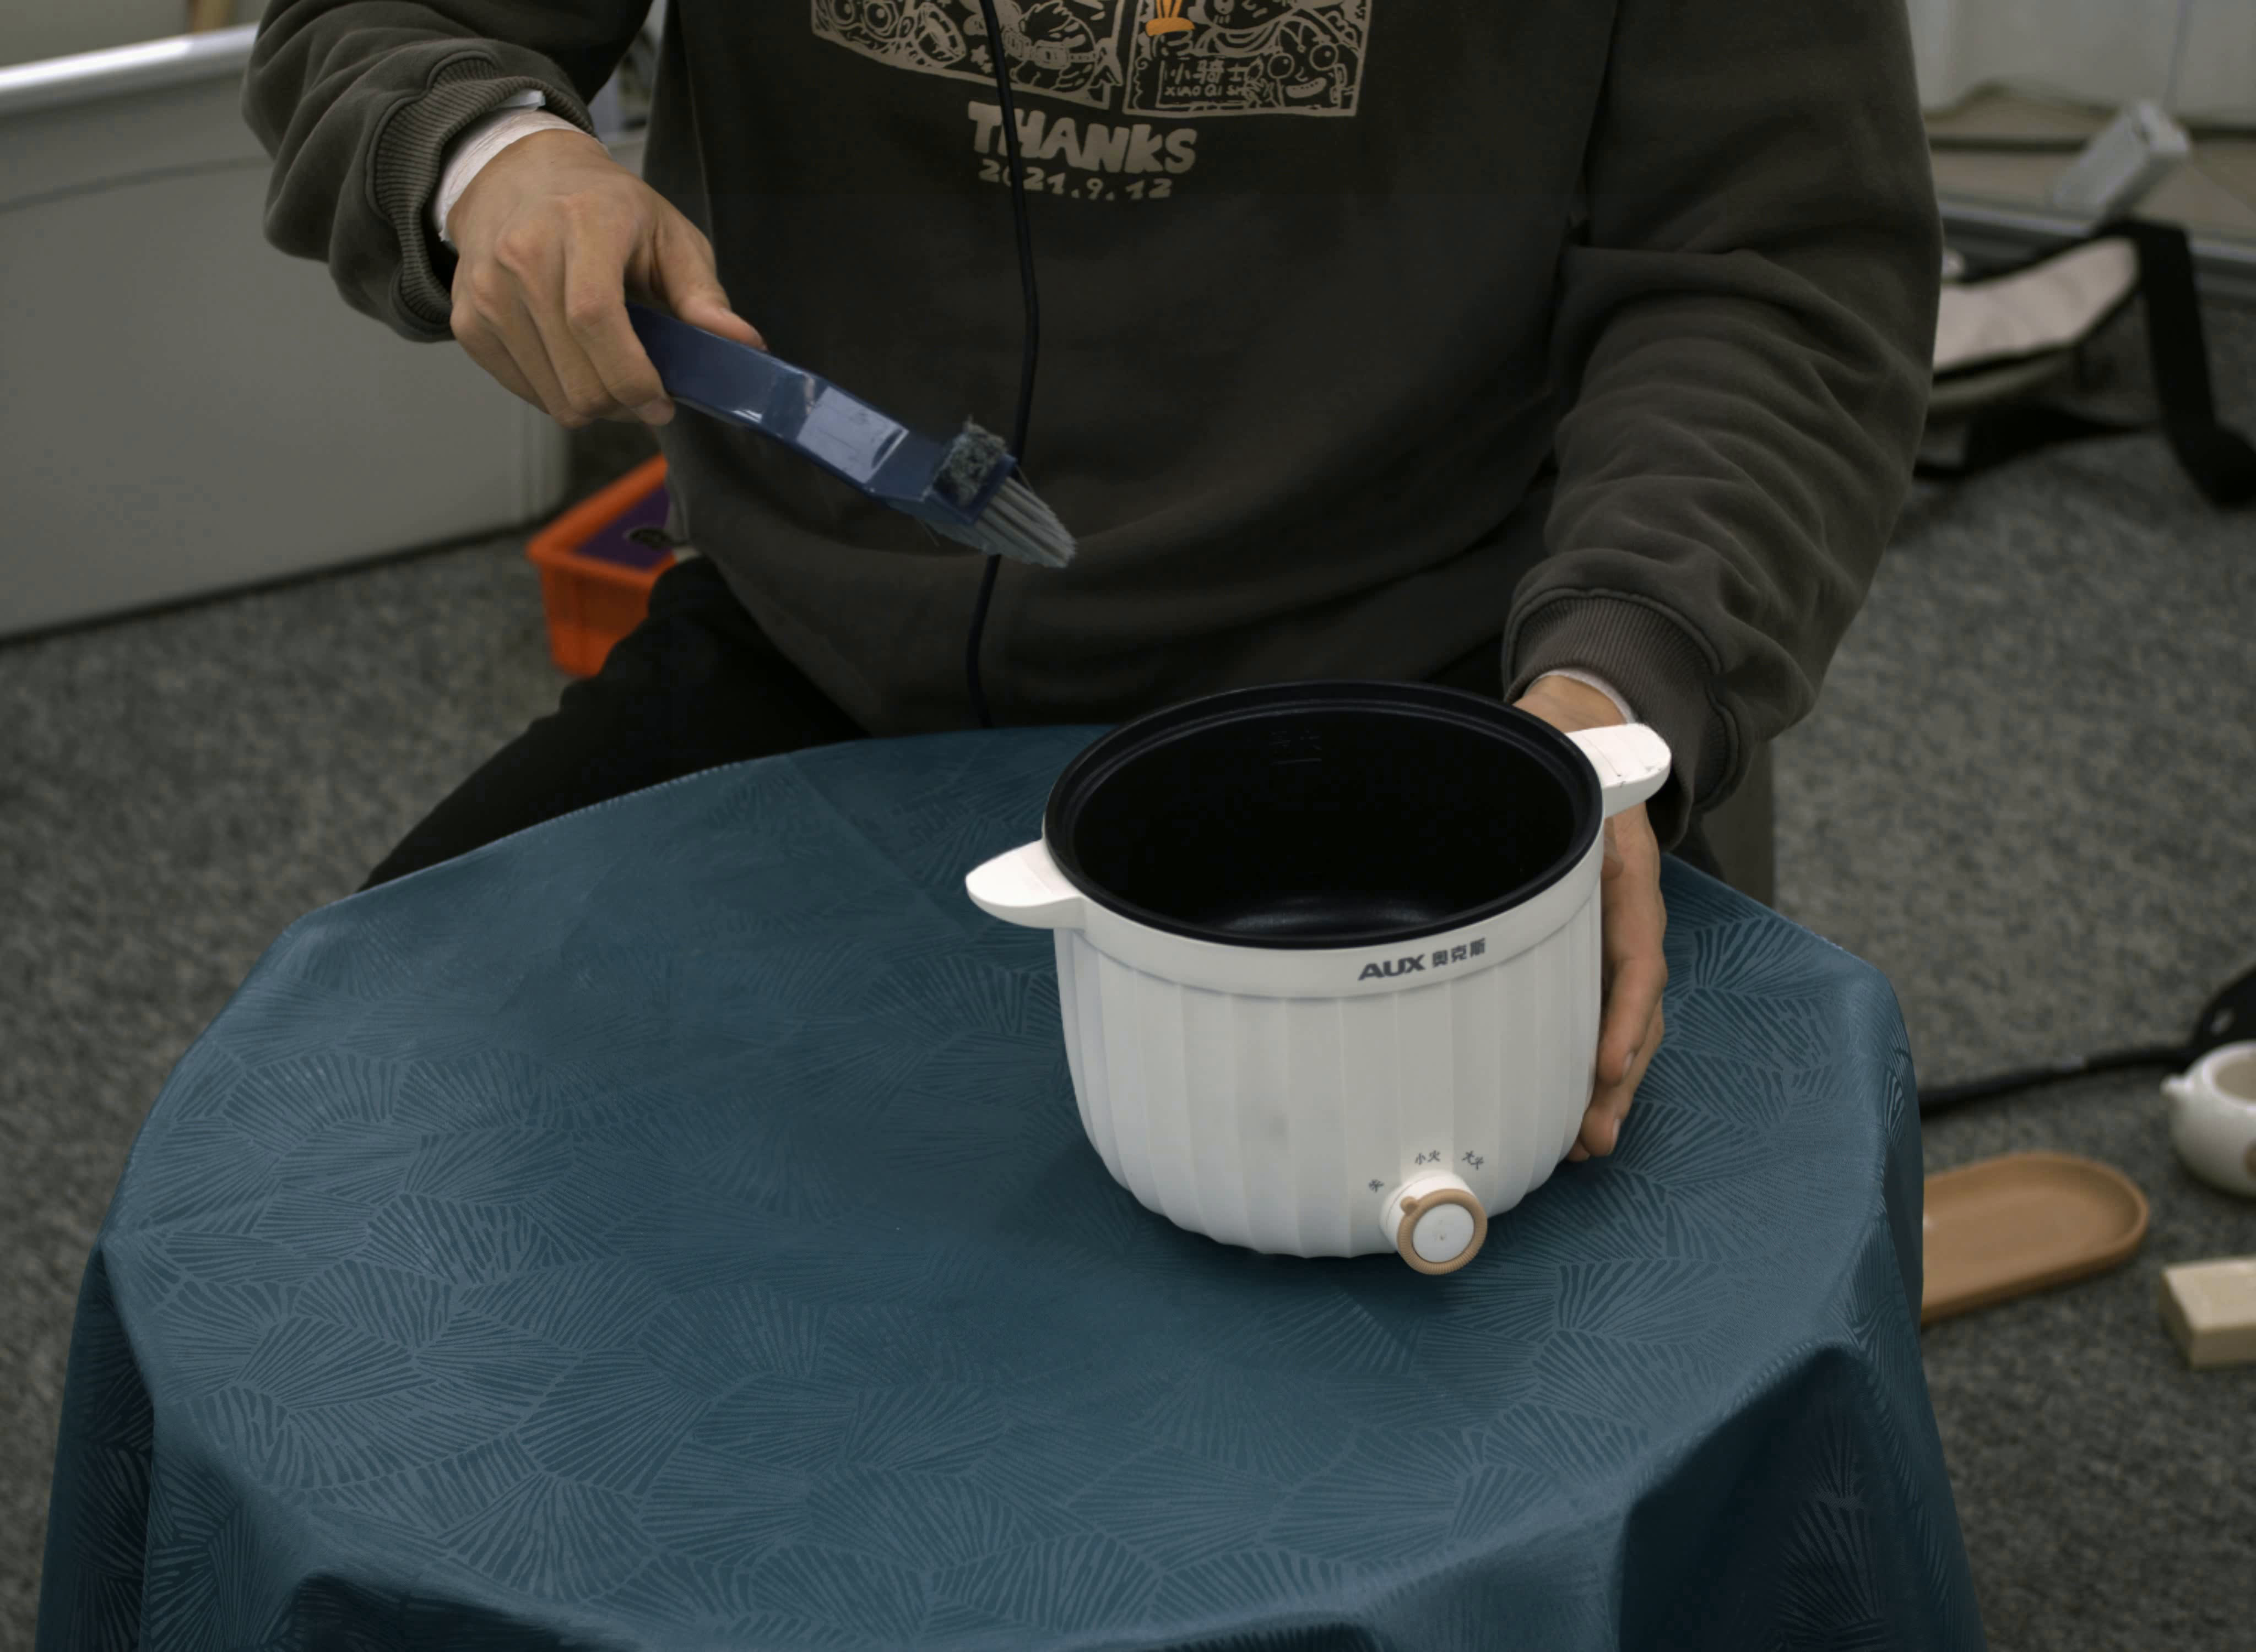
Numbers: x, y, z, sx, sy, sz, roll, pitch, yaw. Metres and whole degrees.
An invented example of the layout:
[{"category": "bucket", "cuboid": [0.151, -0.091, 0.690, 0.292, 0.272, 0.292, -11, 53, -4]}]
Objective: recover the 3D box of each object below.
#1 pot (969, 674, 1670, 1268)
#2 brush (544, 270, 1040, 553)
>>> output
[{"category": "pot", "cuboid": [0.070, 0.052, 1.837, 0.241, 0.141, 0.192, -13, 25, -15]}, {"category": "brush", "cuboid": [-0.120, -0.143, 1.825, 0.273, 0.095, 0.034, 28, 82, 43]}]
